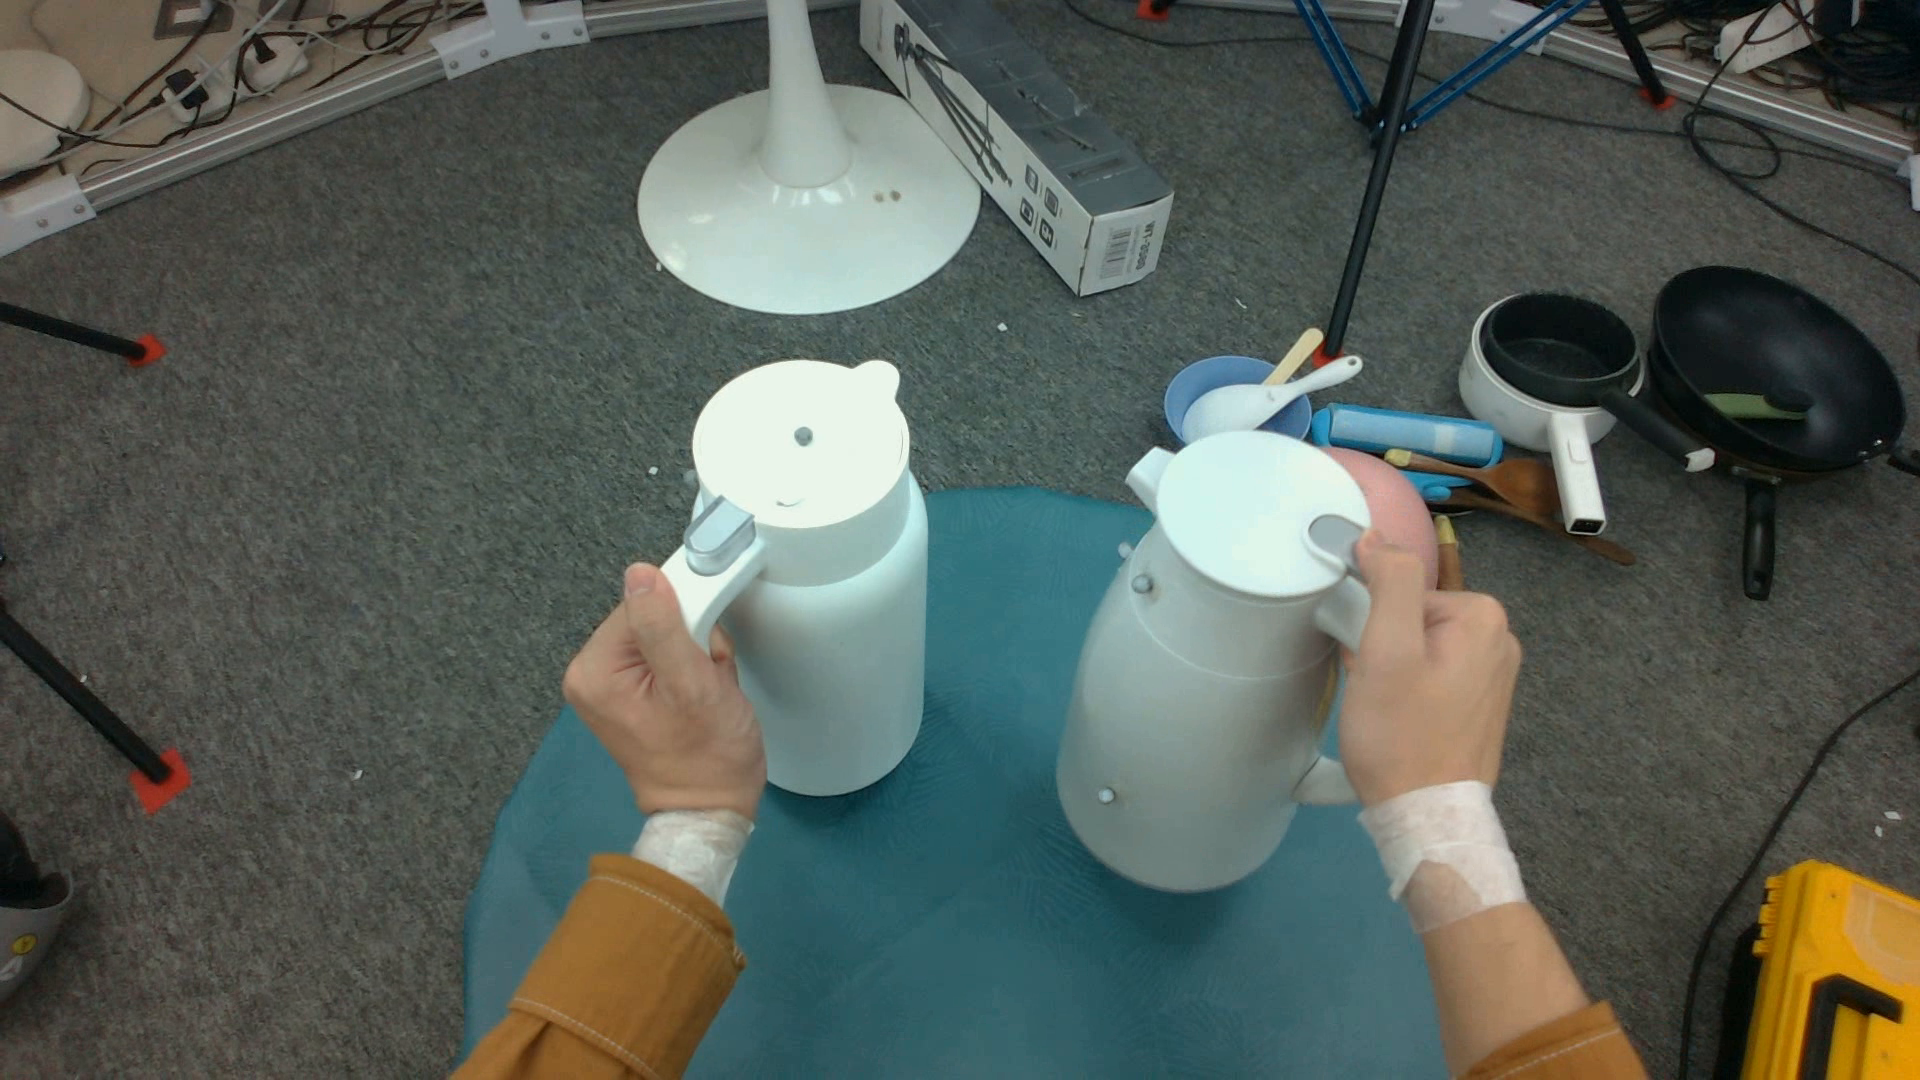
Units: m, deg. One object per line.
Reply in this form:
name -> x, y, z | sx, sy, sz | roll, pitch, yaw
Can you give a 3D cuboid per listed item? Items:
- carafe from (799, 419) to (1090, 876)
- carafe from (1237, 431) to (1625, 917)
carafe -> -0.004, 0.083, 0.720 | 0.124, 0.267, 0.173 | 21, 58, 21
carafe -> 0.217, 0.069, 0.647 | 0.167, 0.247, 0.133 | 24, 57, 27
